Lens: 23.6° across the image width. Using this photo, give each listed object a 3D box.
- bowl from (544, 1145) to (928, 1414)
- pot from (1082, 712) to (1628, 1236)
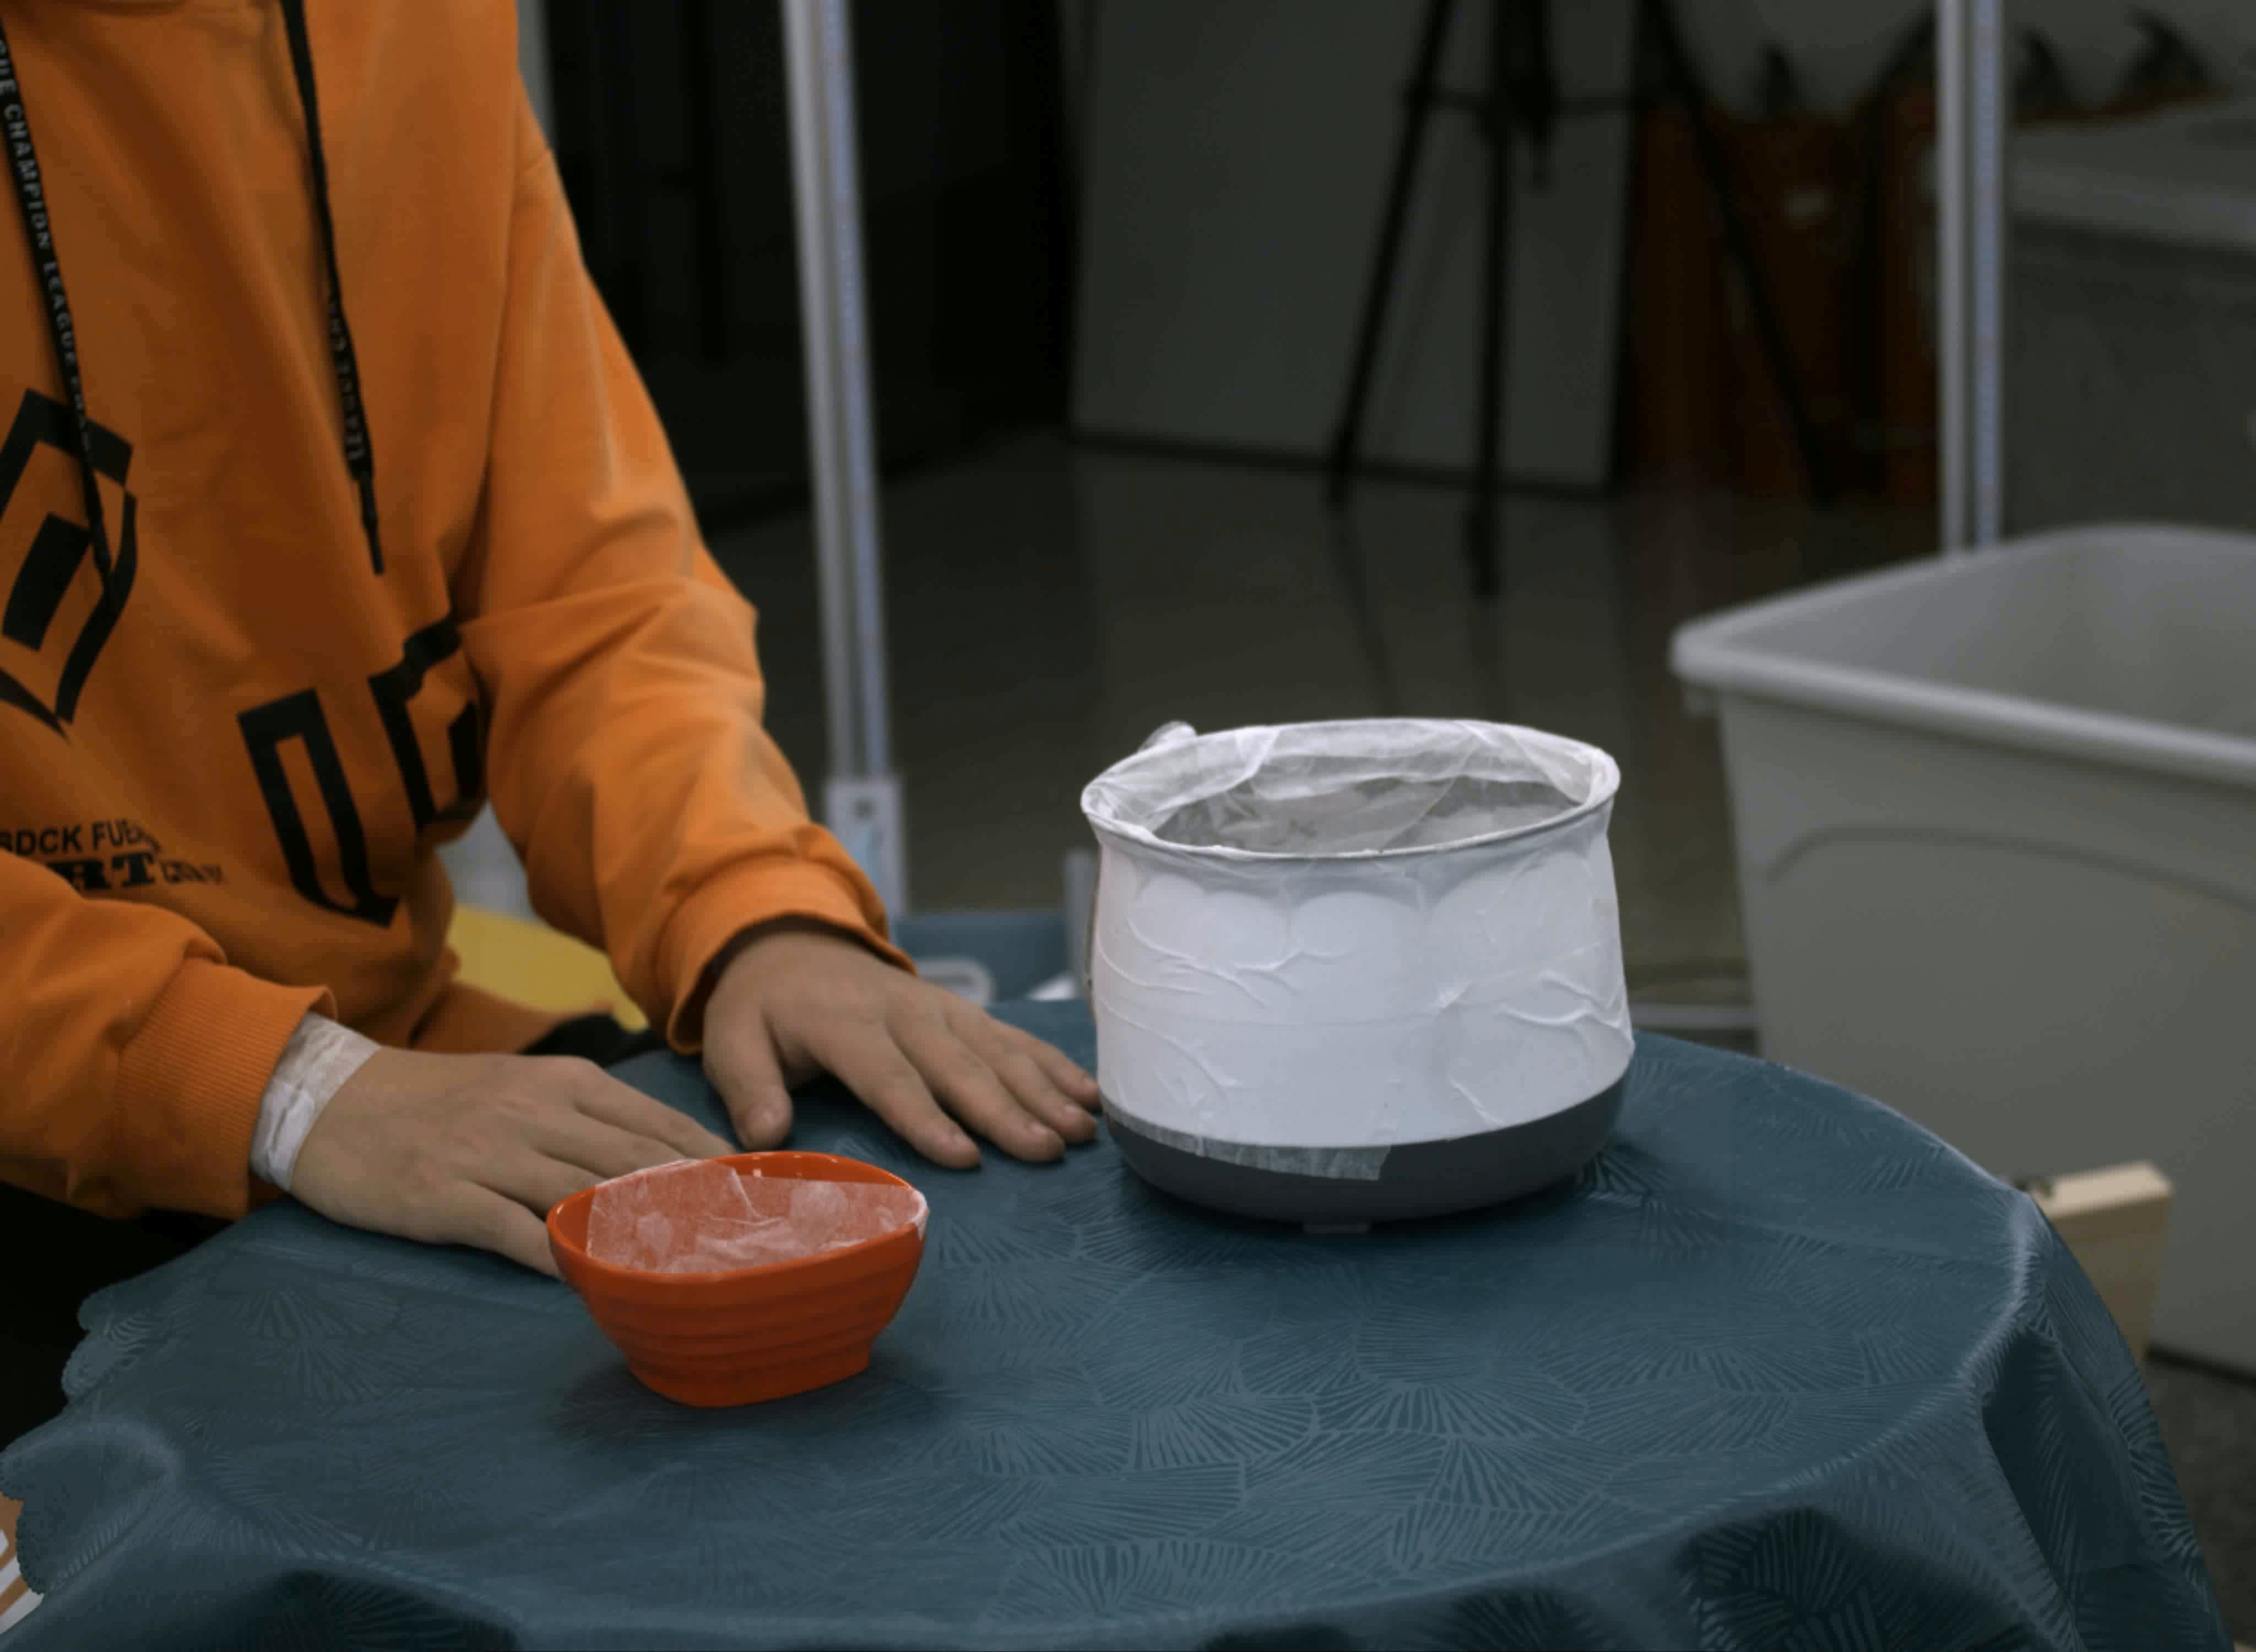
[{"bbox_3d":[-0.116,0.138,1.625,0.117,0.052,0.119,-4,16,0],"label":"bowl"},{"bbox_3d":[0.059,0.042,1.784,0.175,0.138,0.236,-12,16,-33],"label":"pot"}]
